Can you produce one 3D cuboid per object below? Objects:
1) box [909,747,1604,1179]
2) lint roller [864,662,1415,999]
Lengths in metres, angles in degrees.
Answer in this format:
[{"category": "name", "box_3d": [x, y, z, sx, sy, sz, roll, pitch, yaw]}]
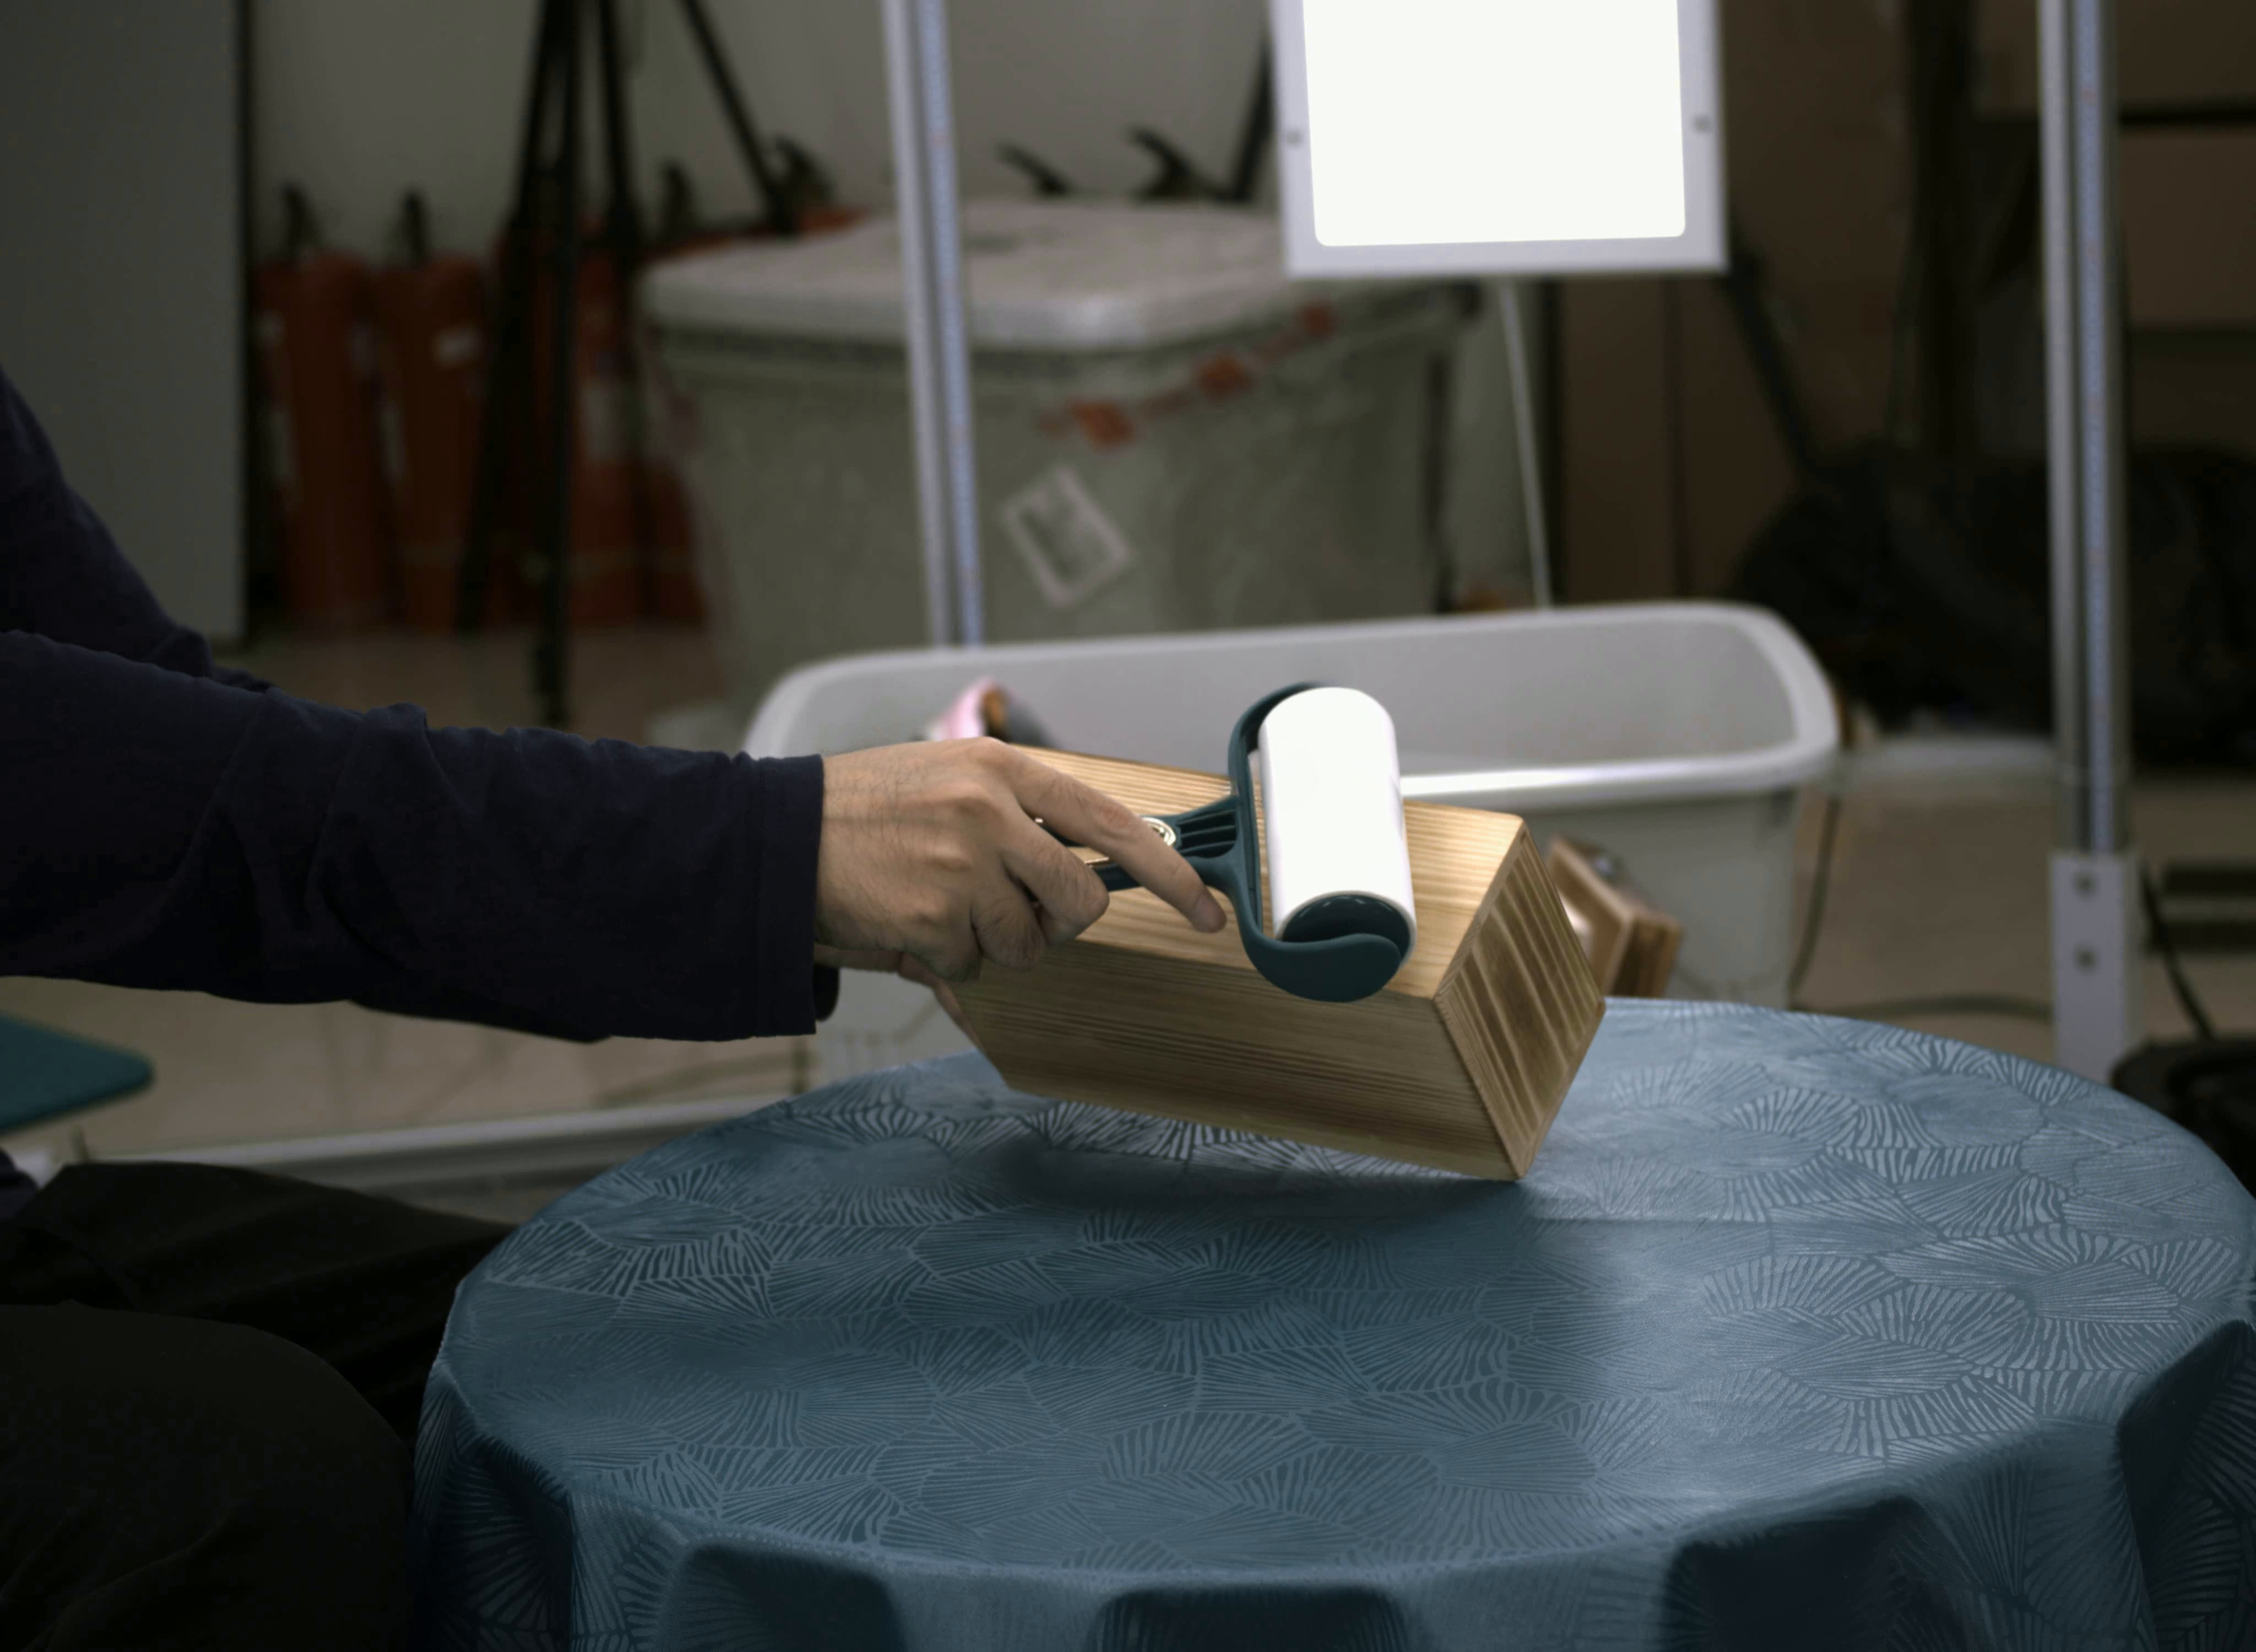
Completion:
[{"category": "box", "box_3d": [0.045, 0.046, 1.914, 0.215, 0.107, 0.079, 8, 55, 32]}, {"category": "lint roller", "box_3d": [0.002, 0.004, 1.821, 0.179, 0.048, 0.134, -2, 44, 0]}]
